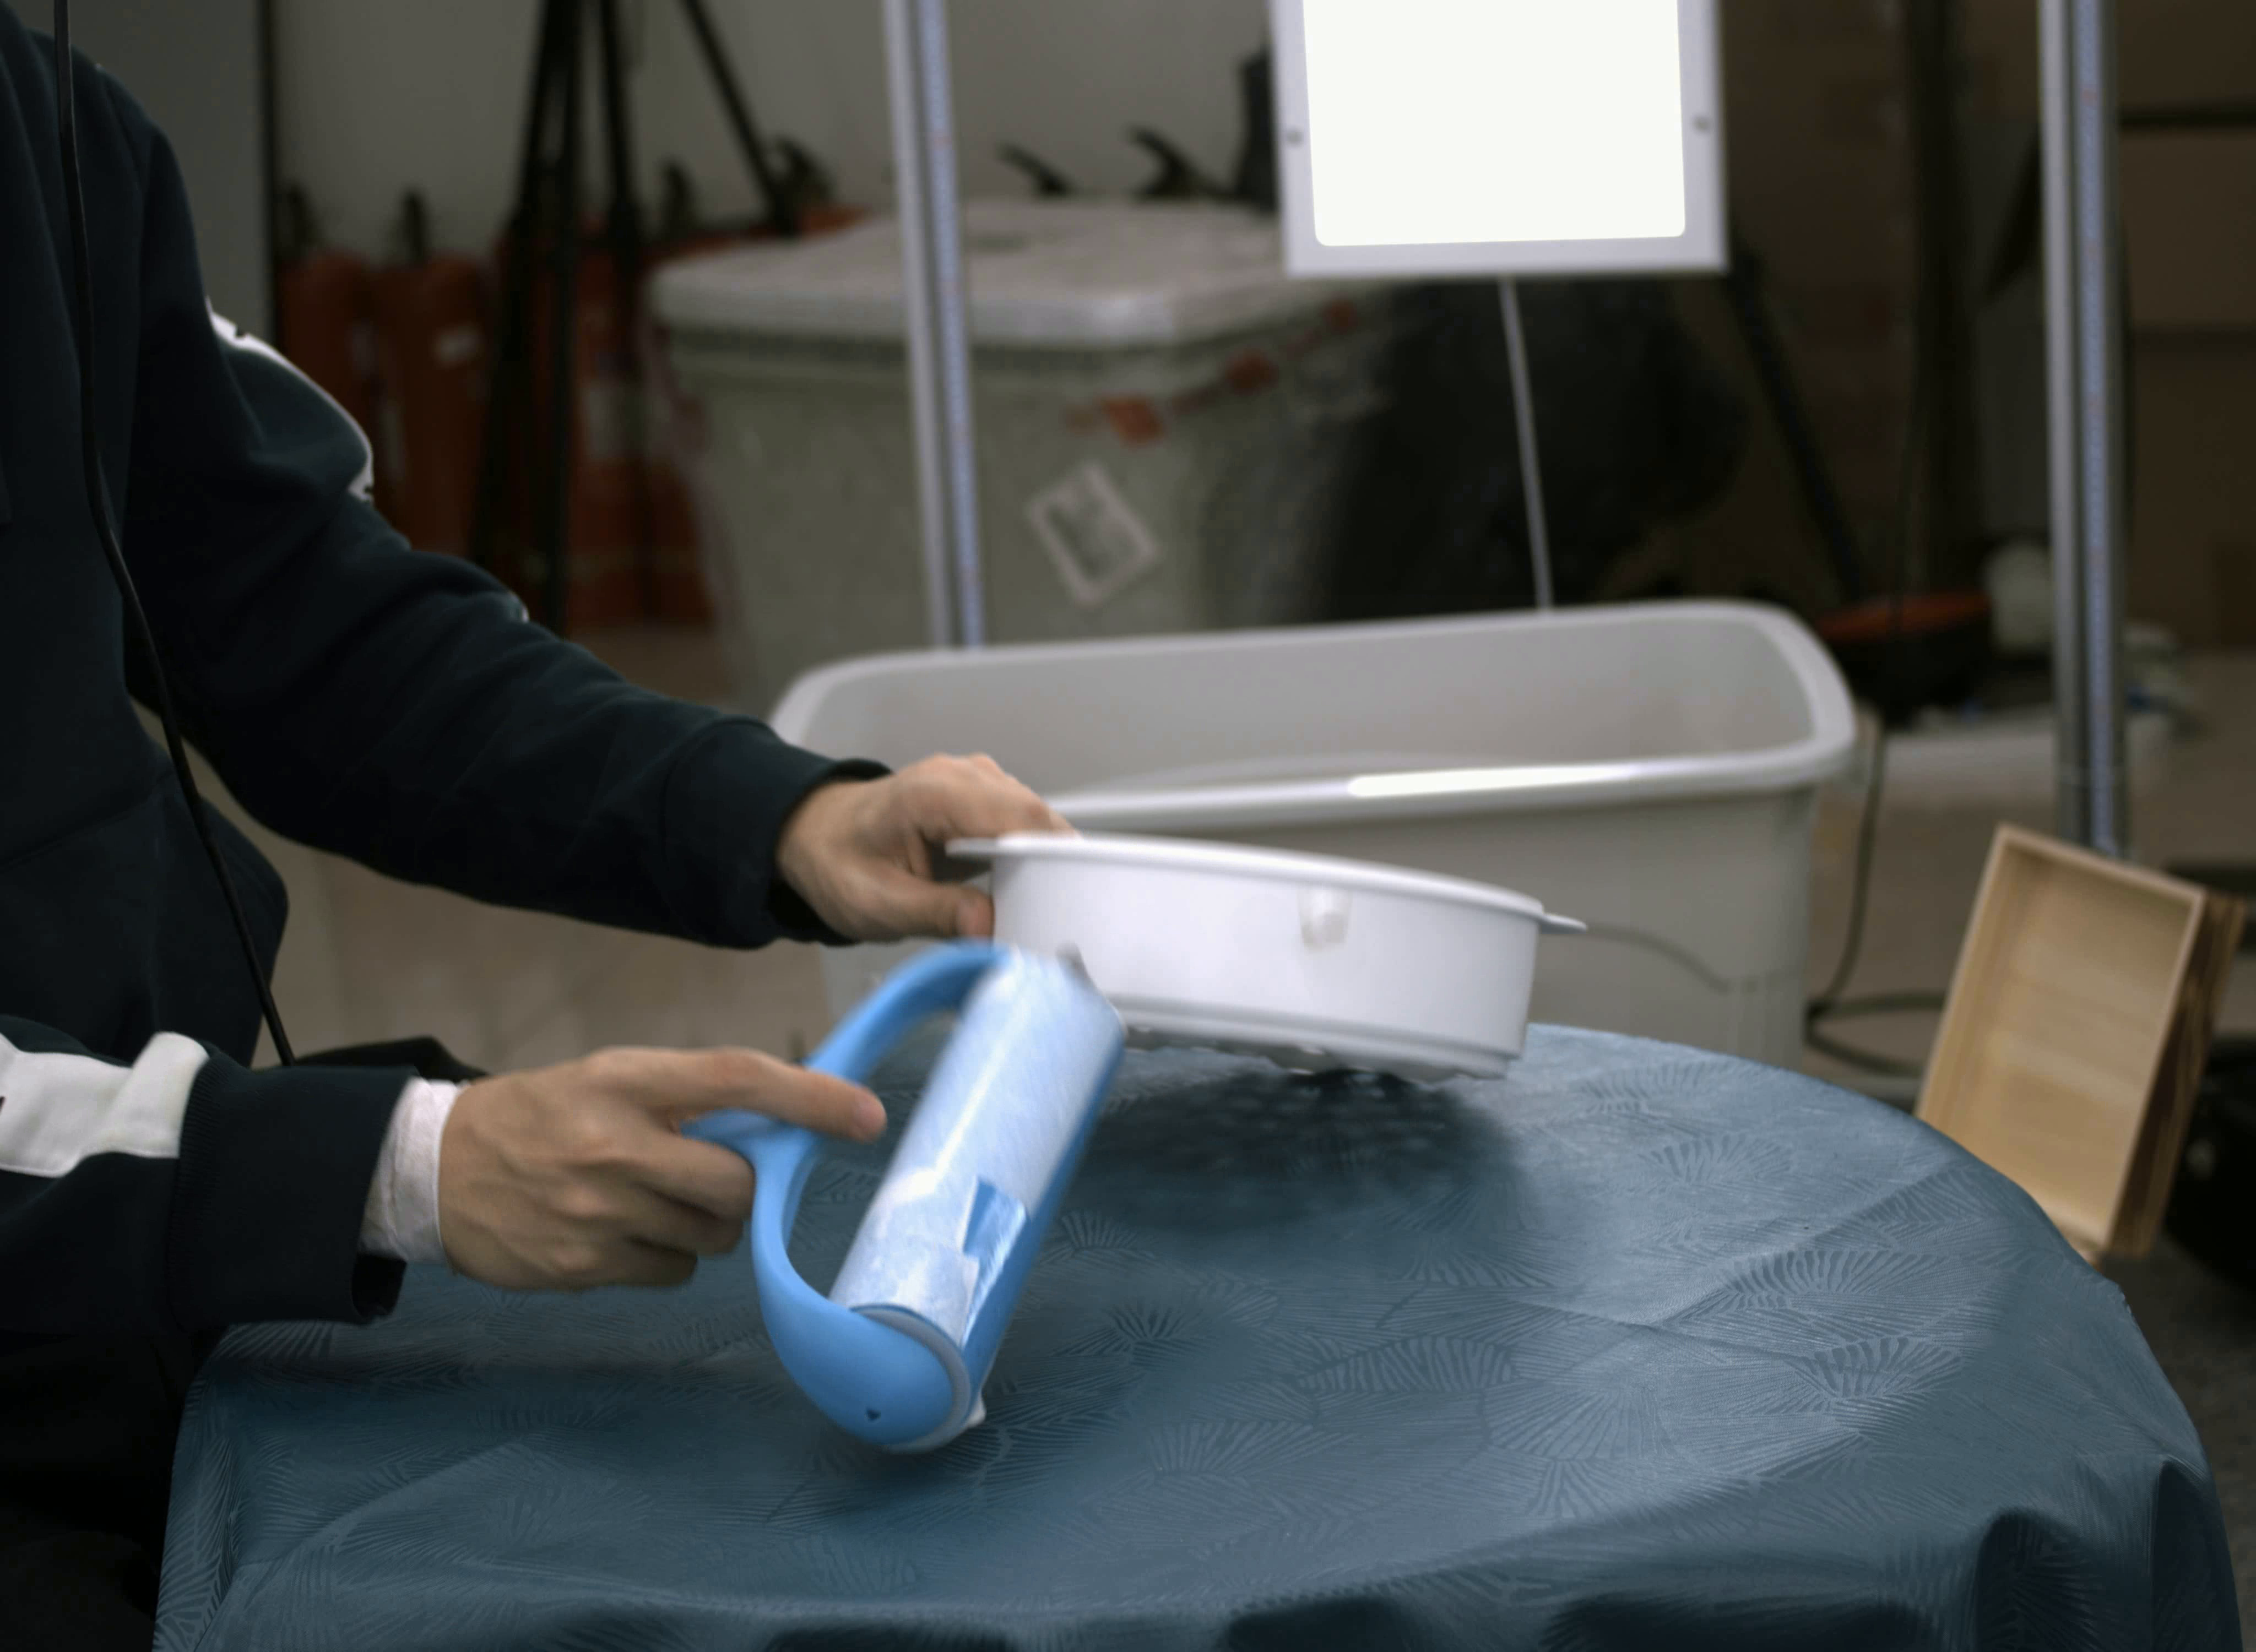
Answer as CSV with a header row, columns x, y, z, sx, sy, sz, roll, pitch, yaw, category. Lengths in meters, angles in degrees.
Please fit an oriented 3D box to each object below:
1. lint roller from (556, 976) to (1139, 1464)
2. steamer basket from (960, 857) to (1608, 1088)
x,y,z,sx,sy,sz,roll,pitch,yaw,category
-0.100,0.124,1.730,0.182,0.068,0.226,-4,29,14,lint roller
0.053,0.053,1.936,0.229,0.069,0.203,5,-2,-7,steamer basket
